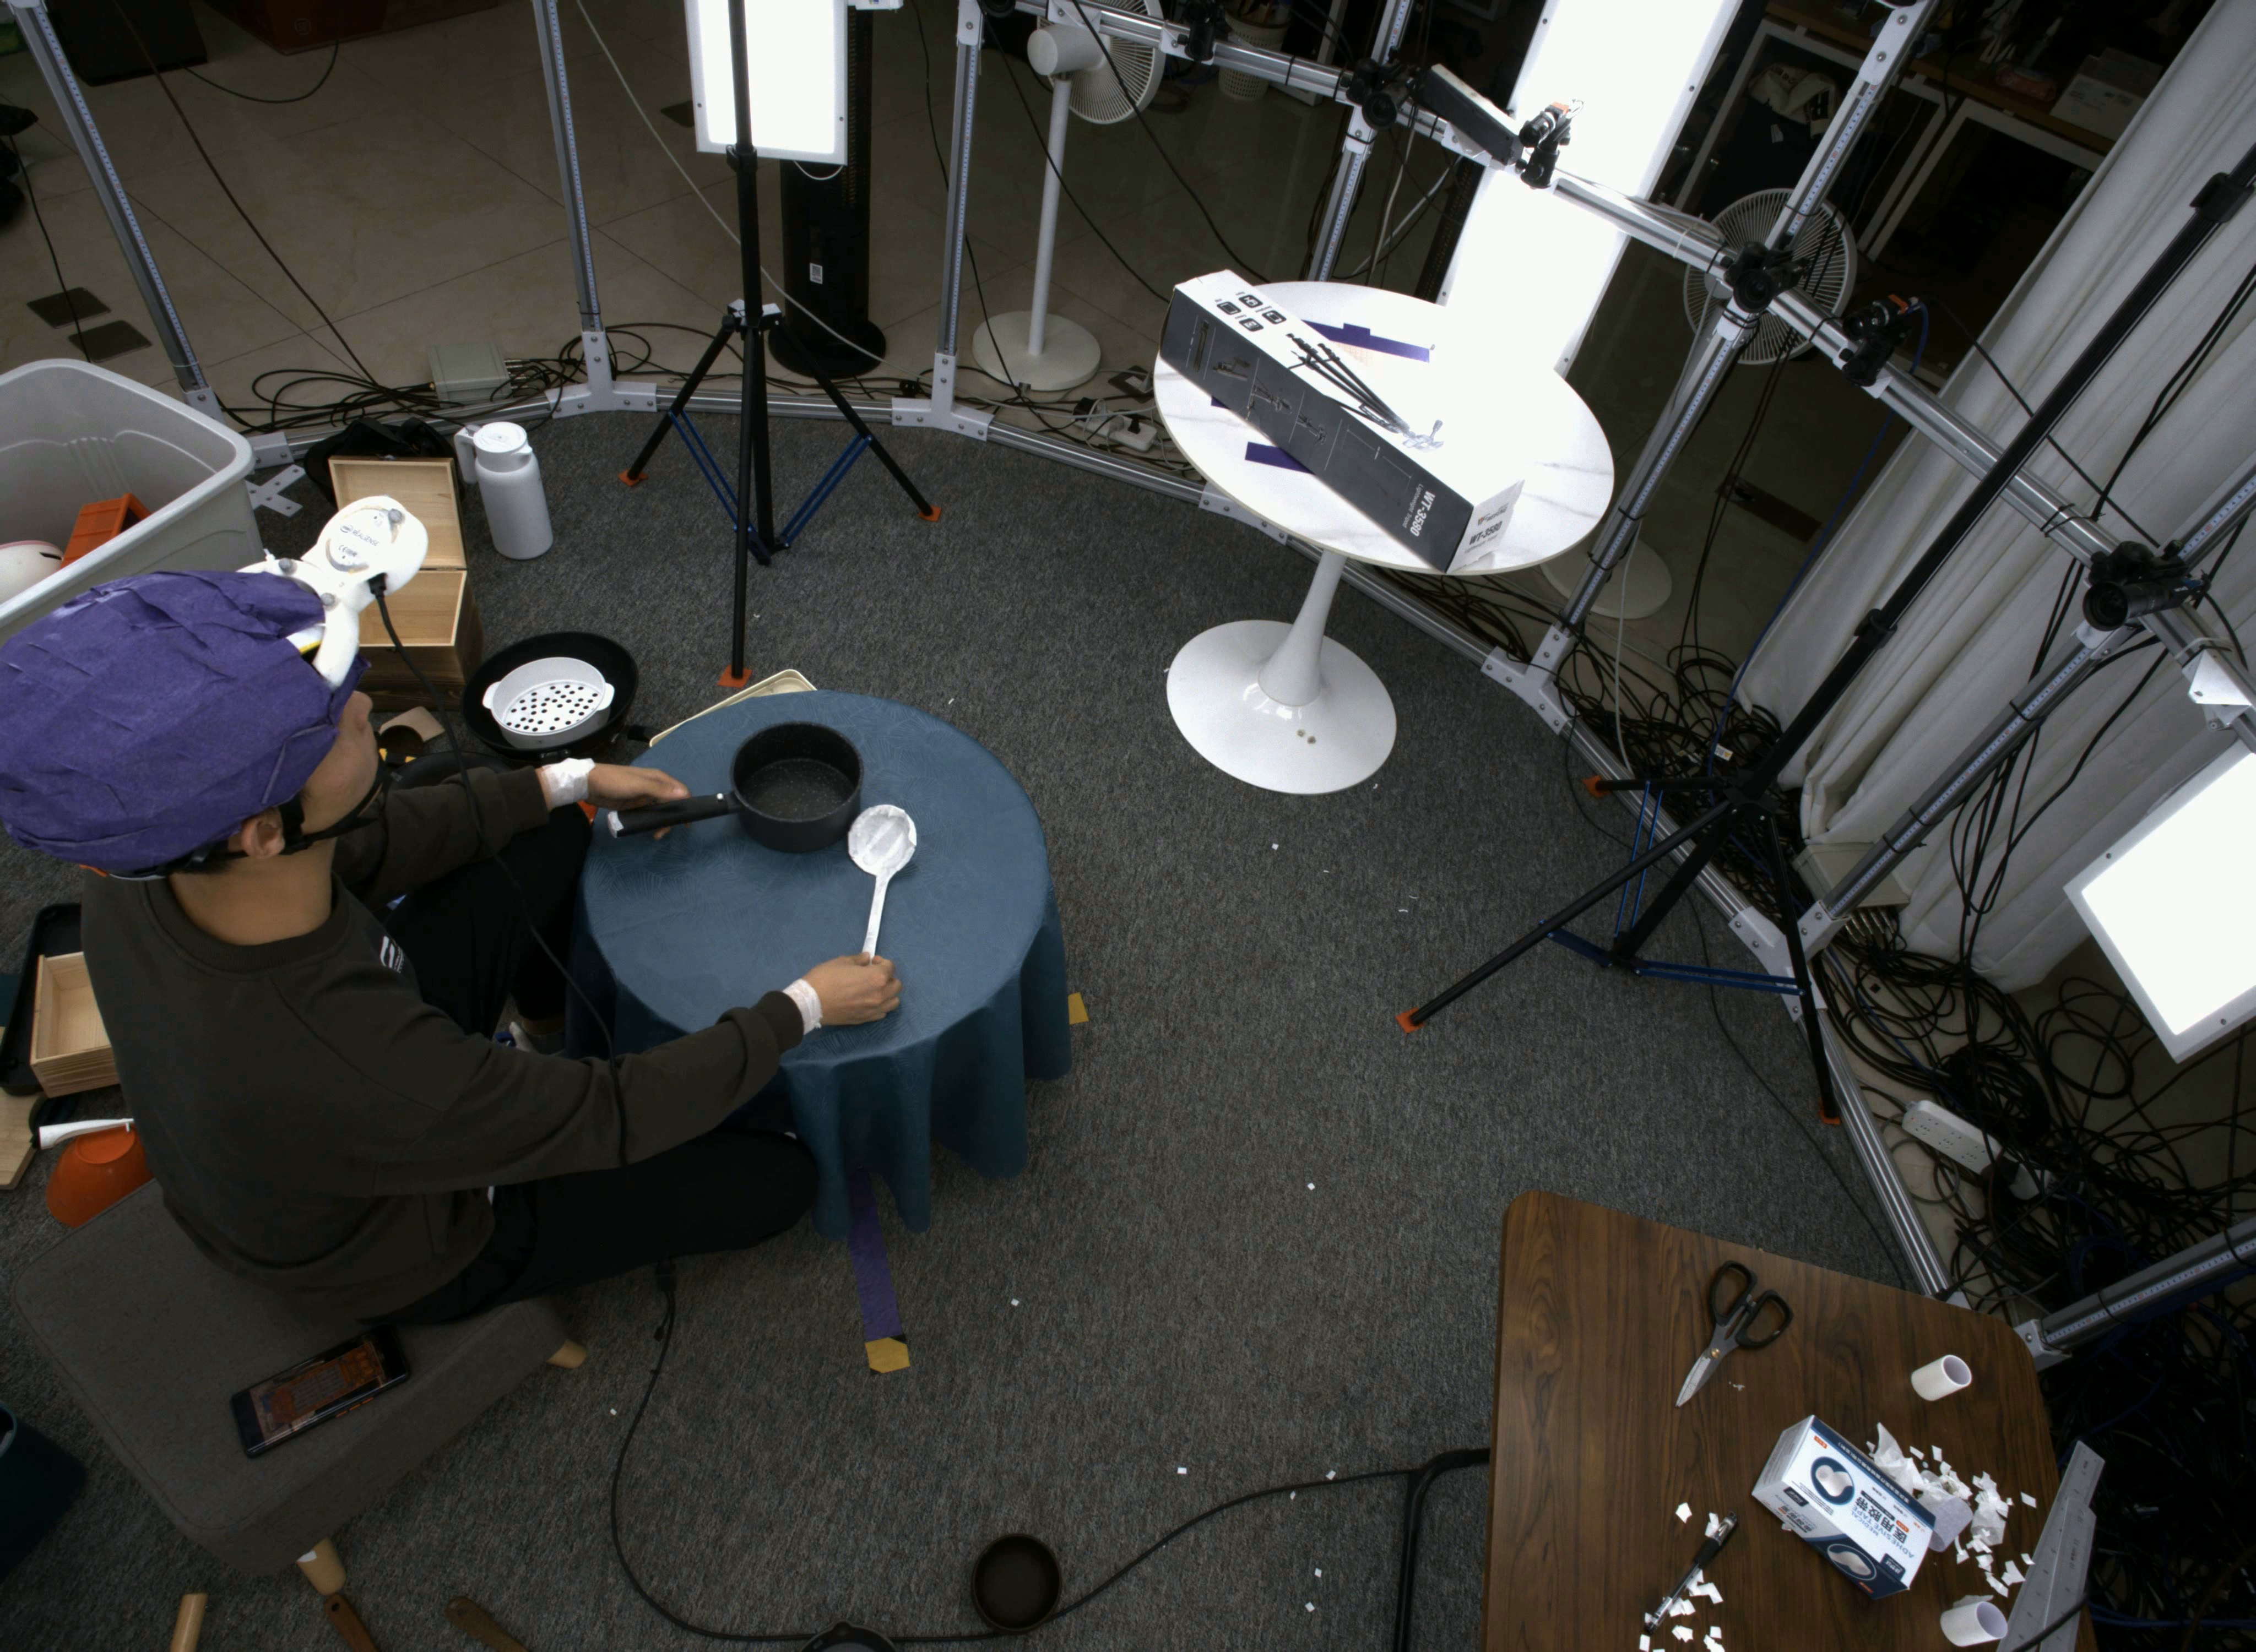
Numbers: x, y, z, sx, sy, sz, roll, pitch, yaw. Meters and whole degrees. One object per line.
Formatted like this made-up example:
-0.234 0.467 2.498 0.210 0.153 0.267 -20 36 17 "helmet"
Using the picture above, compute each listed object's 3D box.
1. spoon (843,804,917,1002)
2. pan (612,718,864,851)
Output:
-0.333 0.091 1.648 0.099 0.061 0.272 -3 48 9 "spoon"
-0.505 -0.033 1.685 0.330 0.088 0.167 -17 58 -25 "pan"
